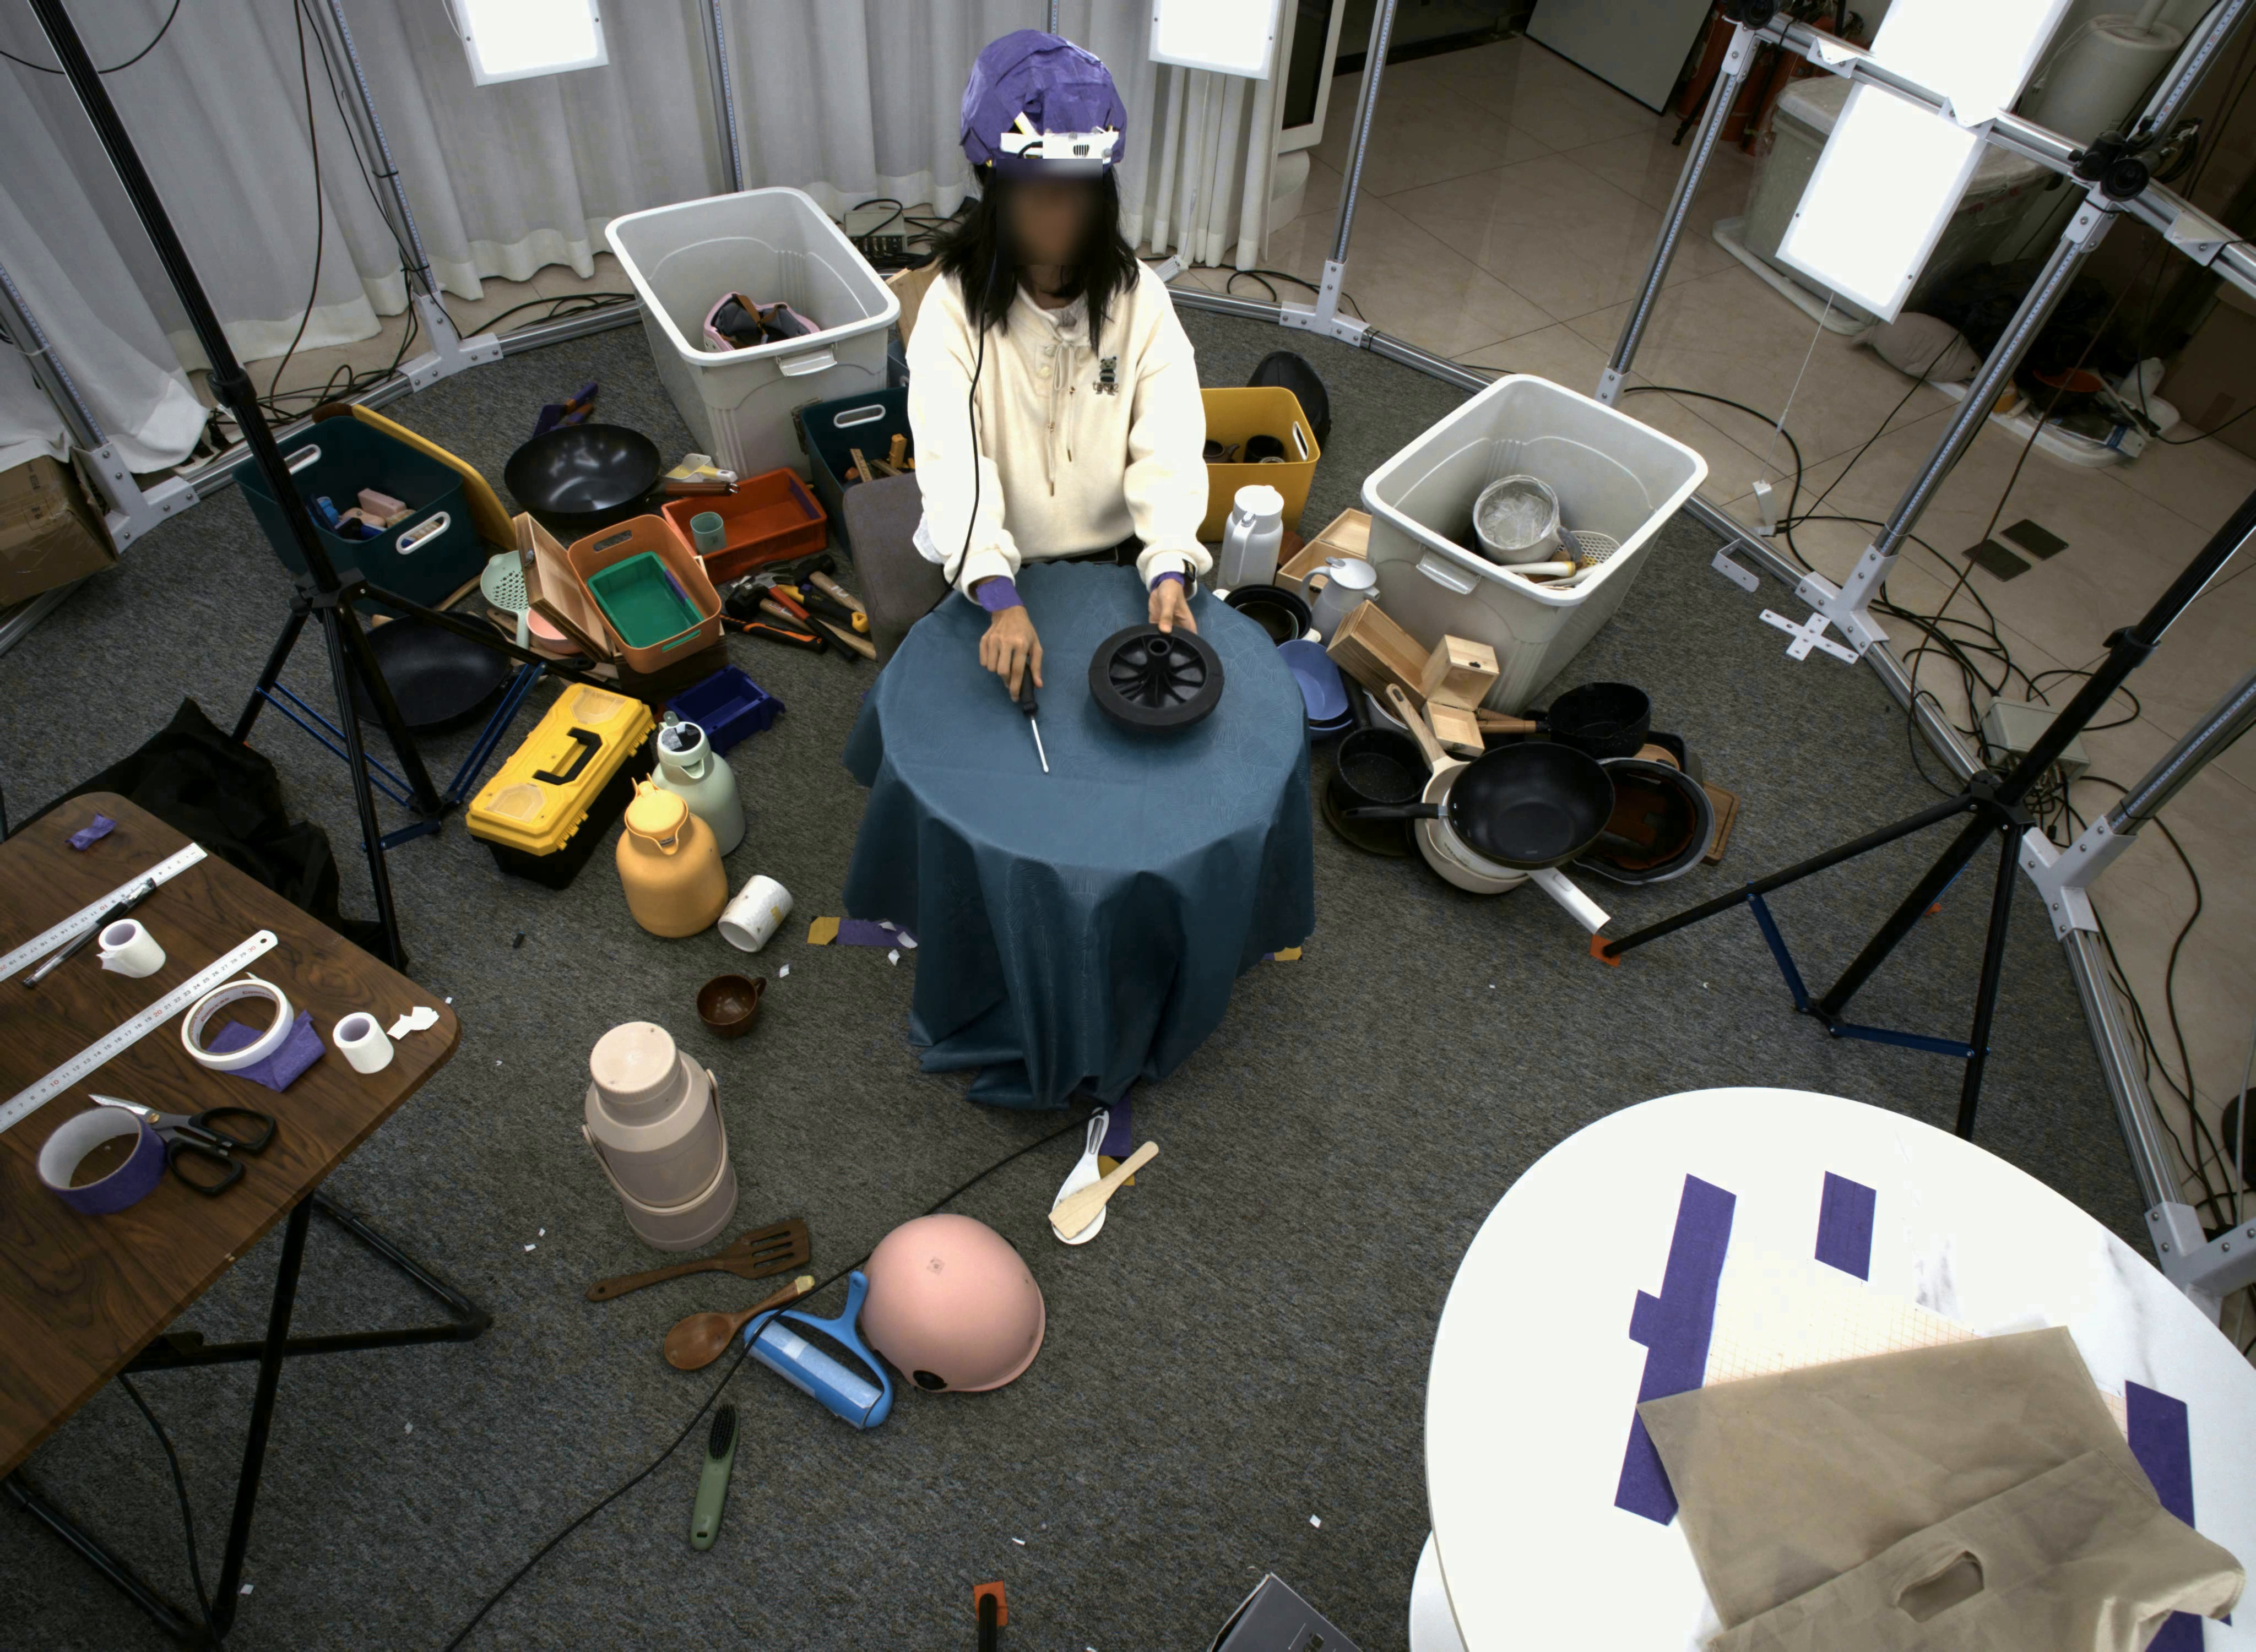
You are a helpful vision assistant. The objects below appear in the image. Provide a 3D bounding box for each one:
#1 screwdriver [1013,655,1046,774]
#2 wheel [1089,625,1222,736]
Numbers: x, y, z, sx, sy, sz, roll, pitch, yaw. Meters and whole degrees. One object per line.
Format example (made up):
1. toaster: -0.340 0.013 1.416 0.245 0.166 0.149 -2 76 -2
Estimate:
1. screwdriver: -0.128 -0.156 1.770 0.031 0.031 0.200 -9 59 -13
2. wheel: 0.038 -0.217 1.775 0.189 0.077 0.192 34 61 21
